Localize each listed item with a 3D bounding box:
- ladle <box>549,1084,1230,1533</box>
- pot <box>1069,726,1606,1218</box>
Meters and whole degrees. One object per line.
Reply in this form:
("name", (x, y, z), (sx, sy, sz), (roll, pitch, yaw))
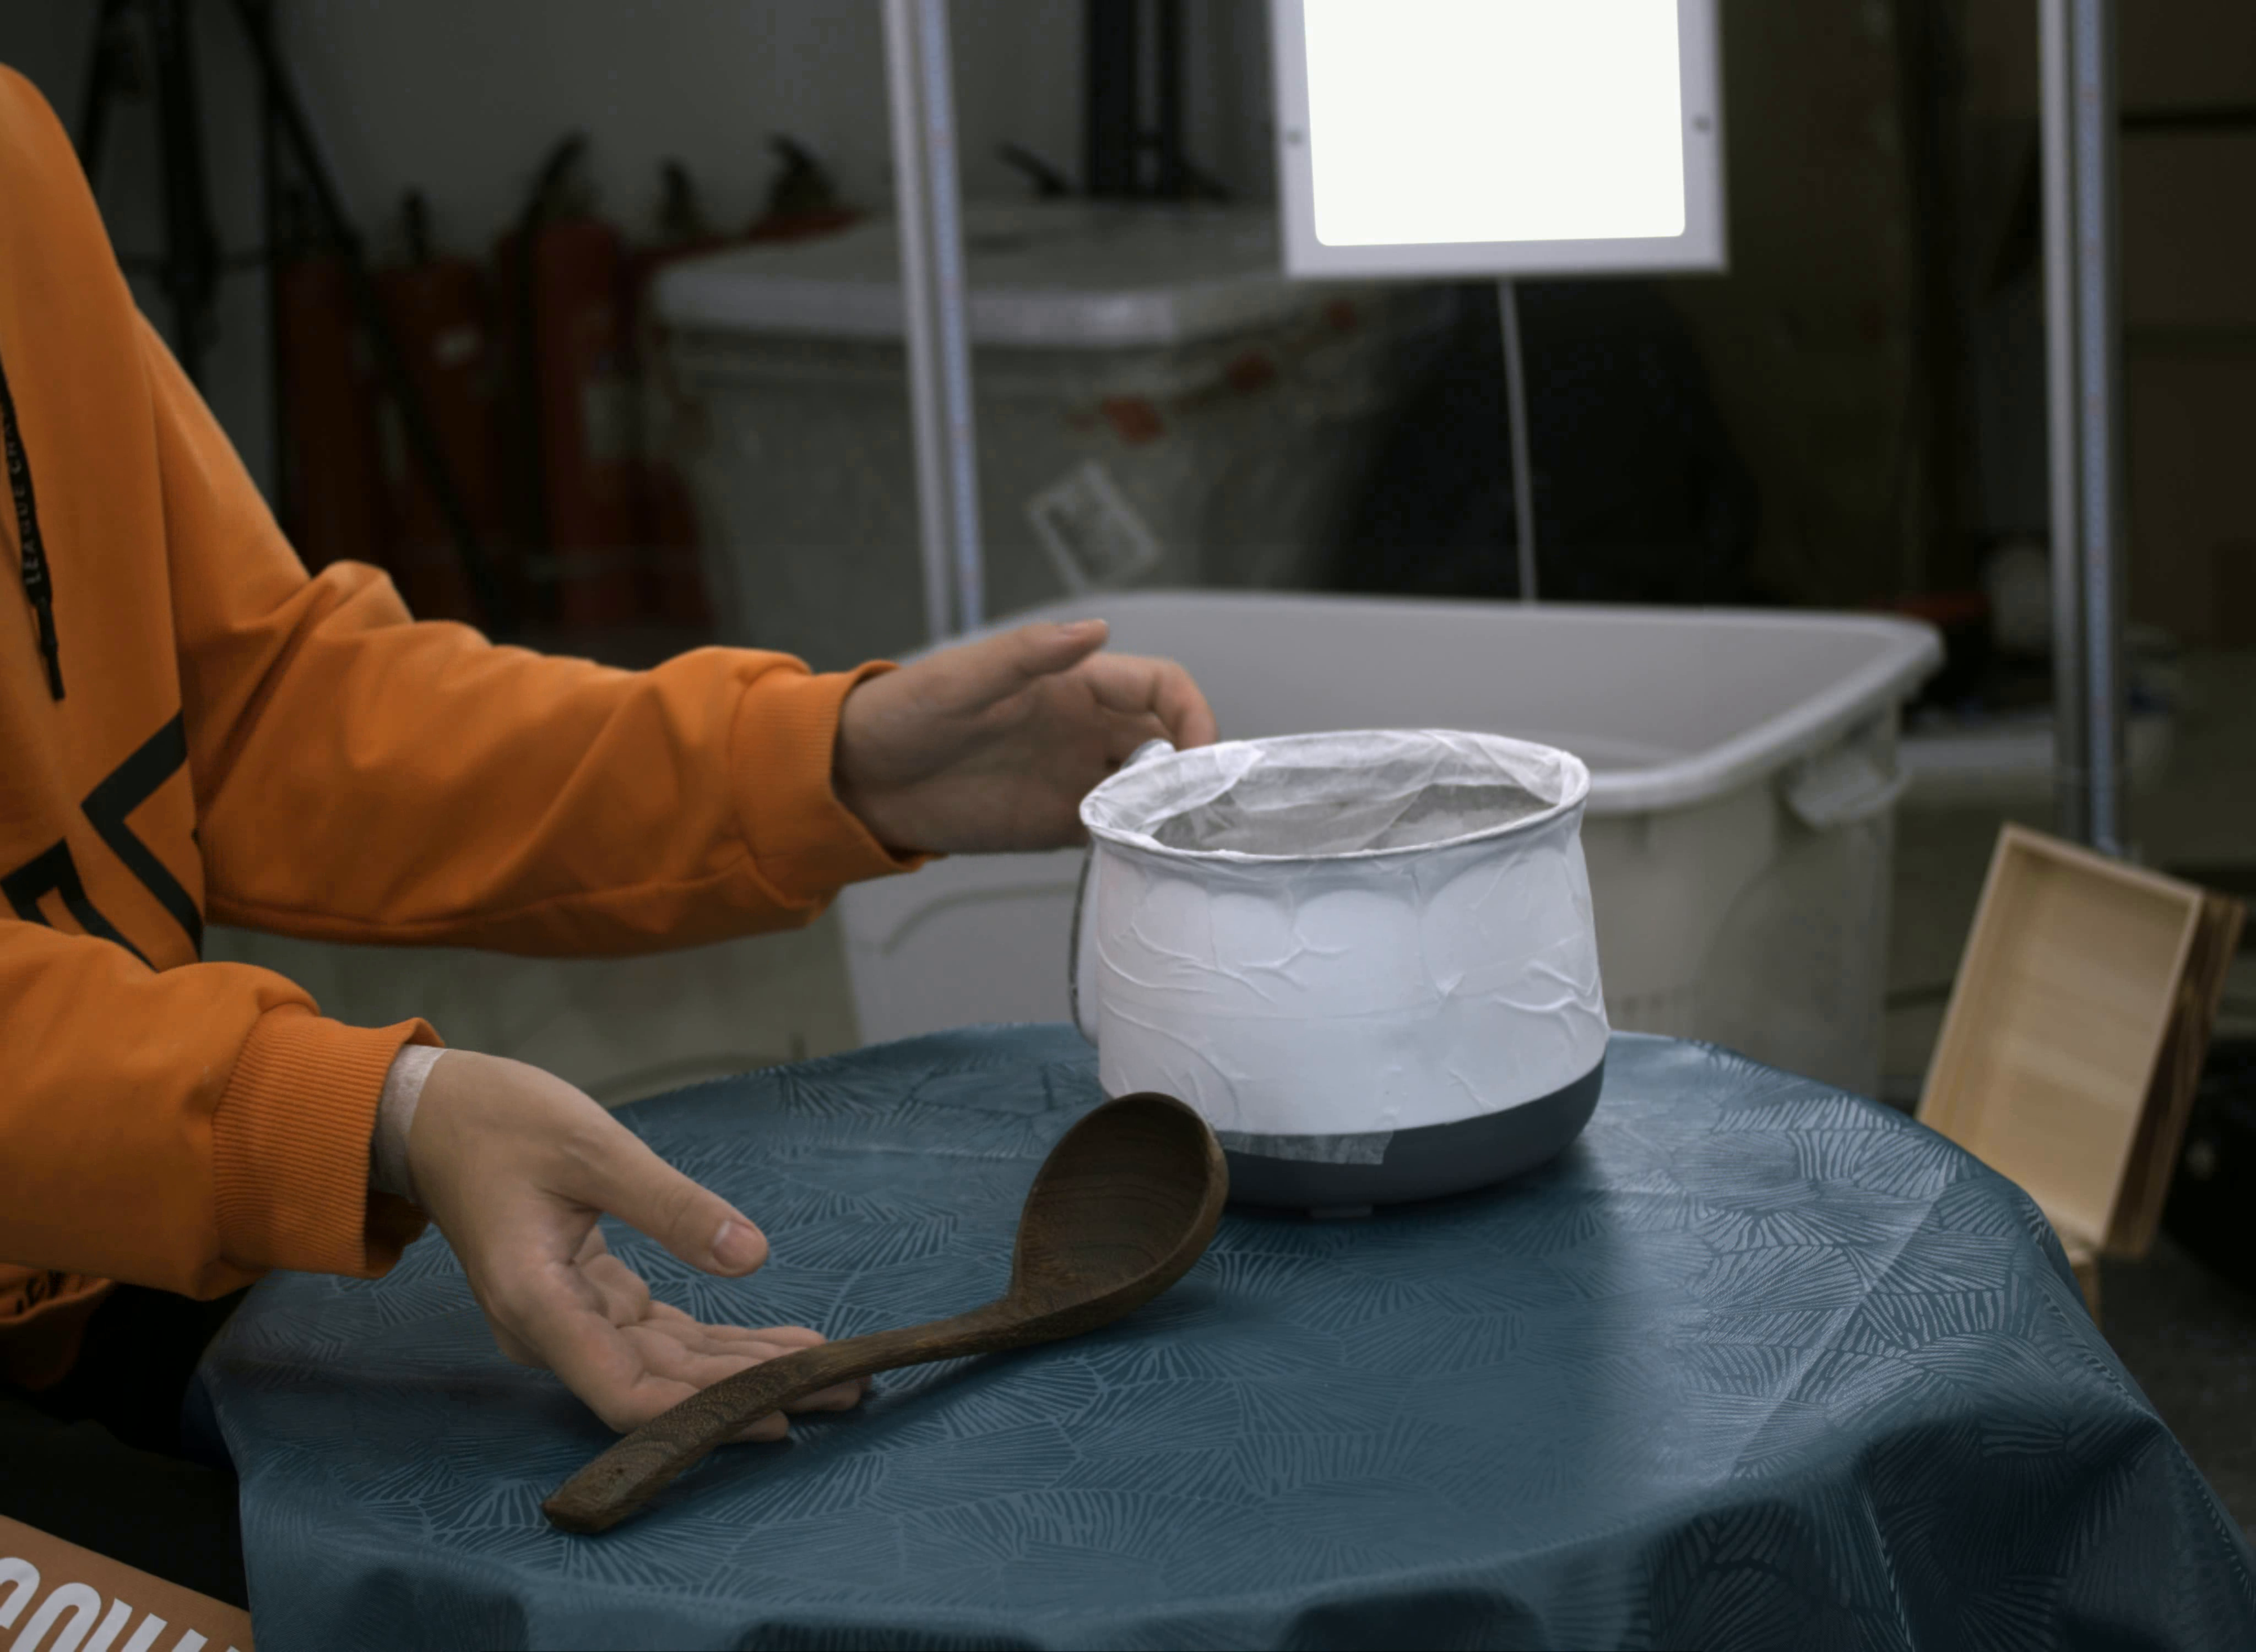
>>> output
("ladle", (-0.074, 0.144, 1.704), (0.267, 0.071, 0.078), (-17, 16, -43))
("pot", (0.058, 0.045, 1.920), (0.174, 0.137, 0.238), (-15, 17, -36))
